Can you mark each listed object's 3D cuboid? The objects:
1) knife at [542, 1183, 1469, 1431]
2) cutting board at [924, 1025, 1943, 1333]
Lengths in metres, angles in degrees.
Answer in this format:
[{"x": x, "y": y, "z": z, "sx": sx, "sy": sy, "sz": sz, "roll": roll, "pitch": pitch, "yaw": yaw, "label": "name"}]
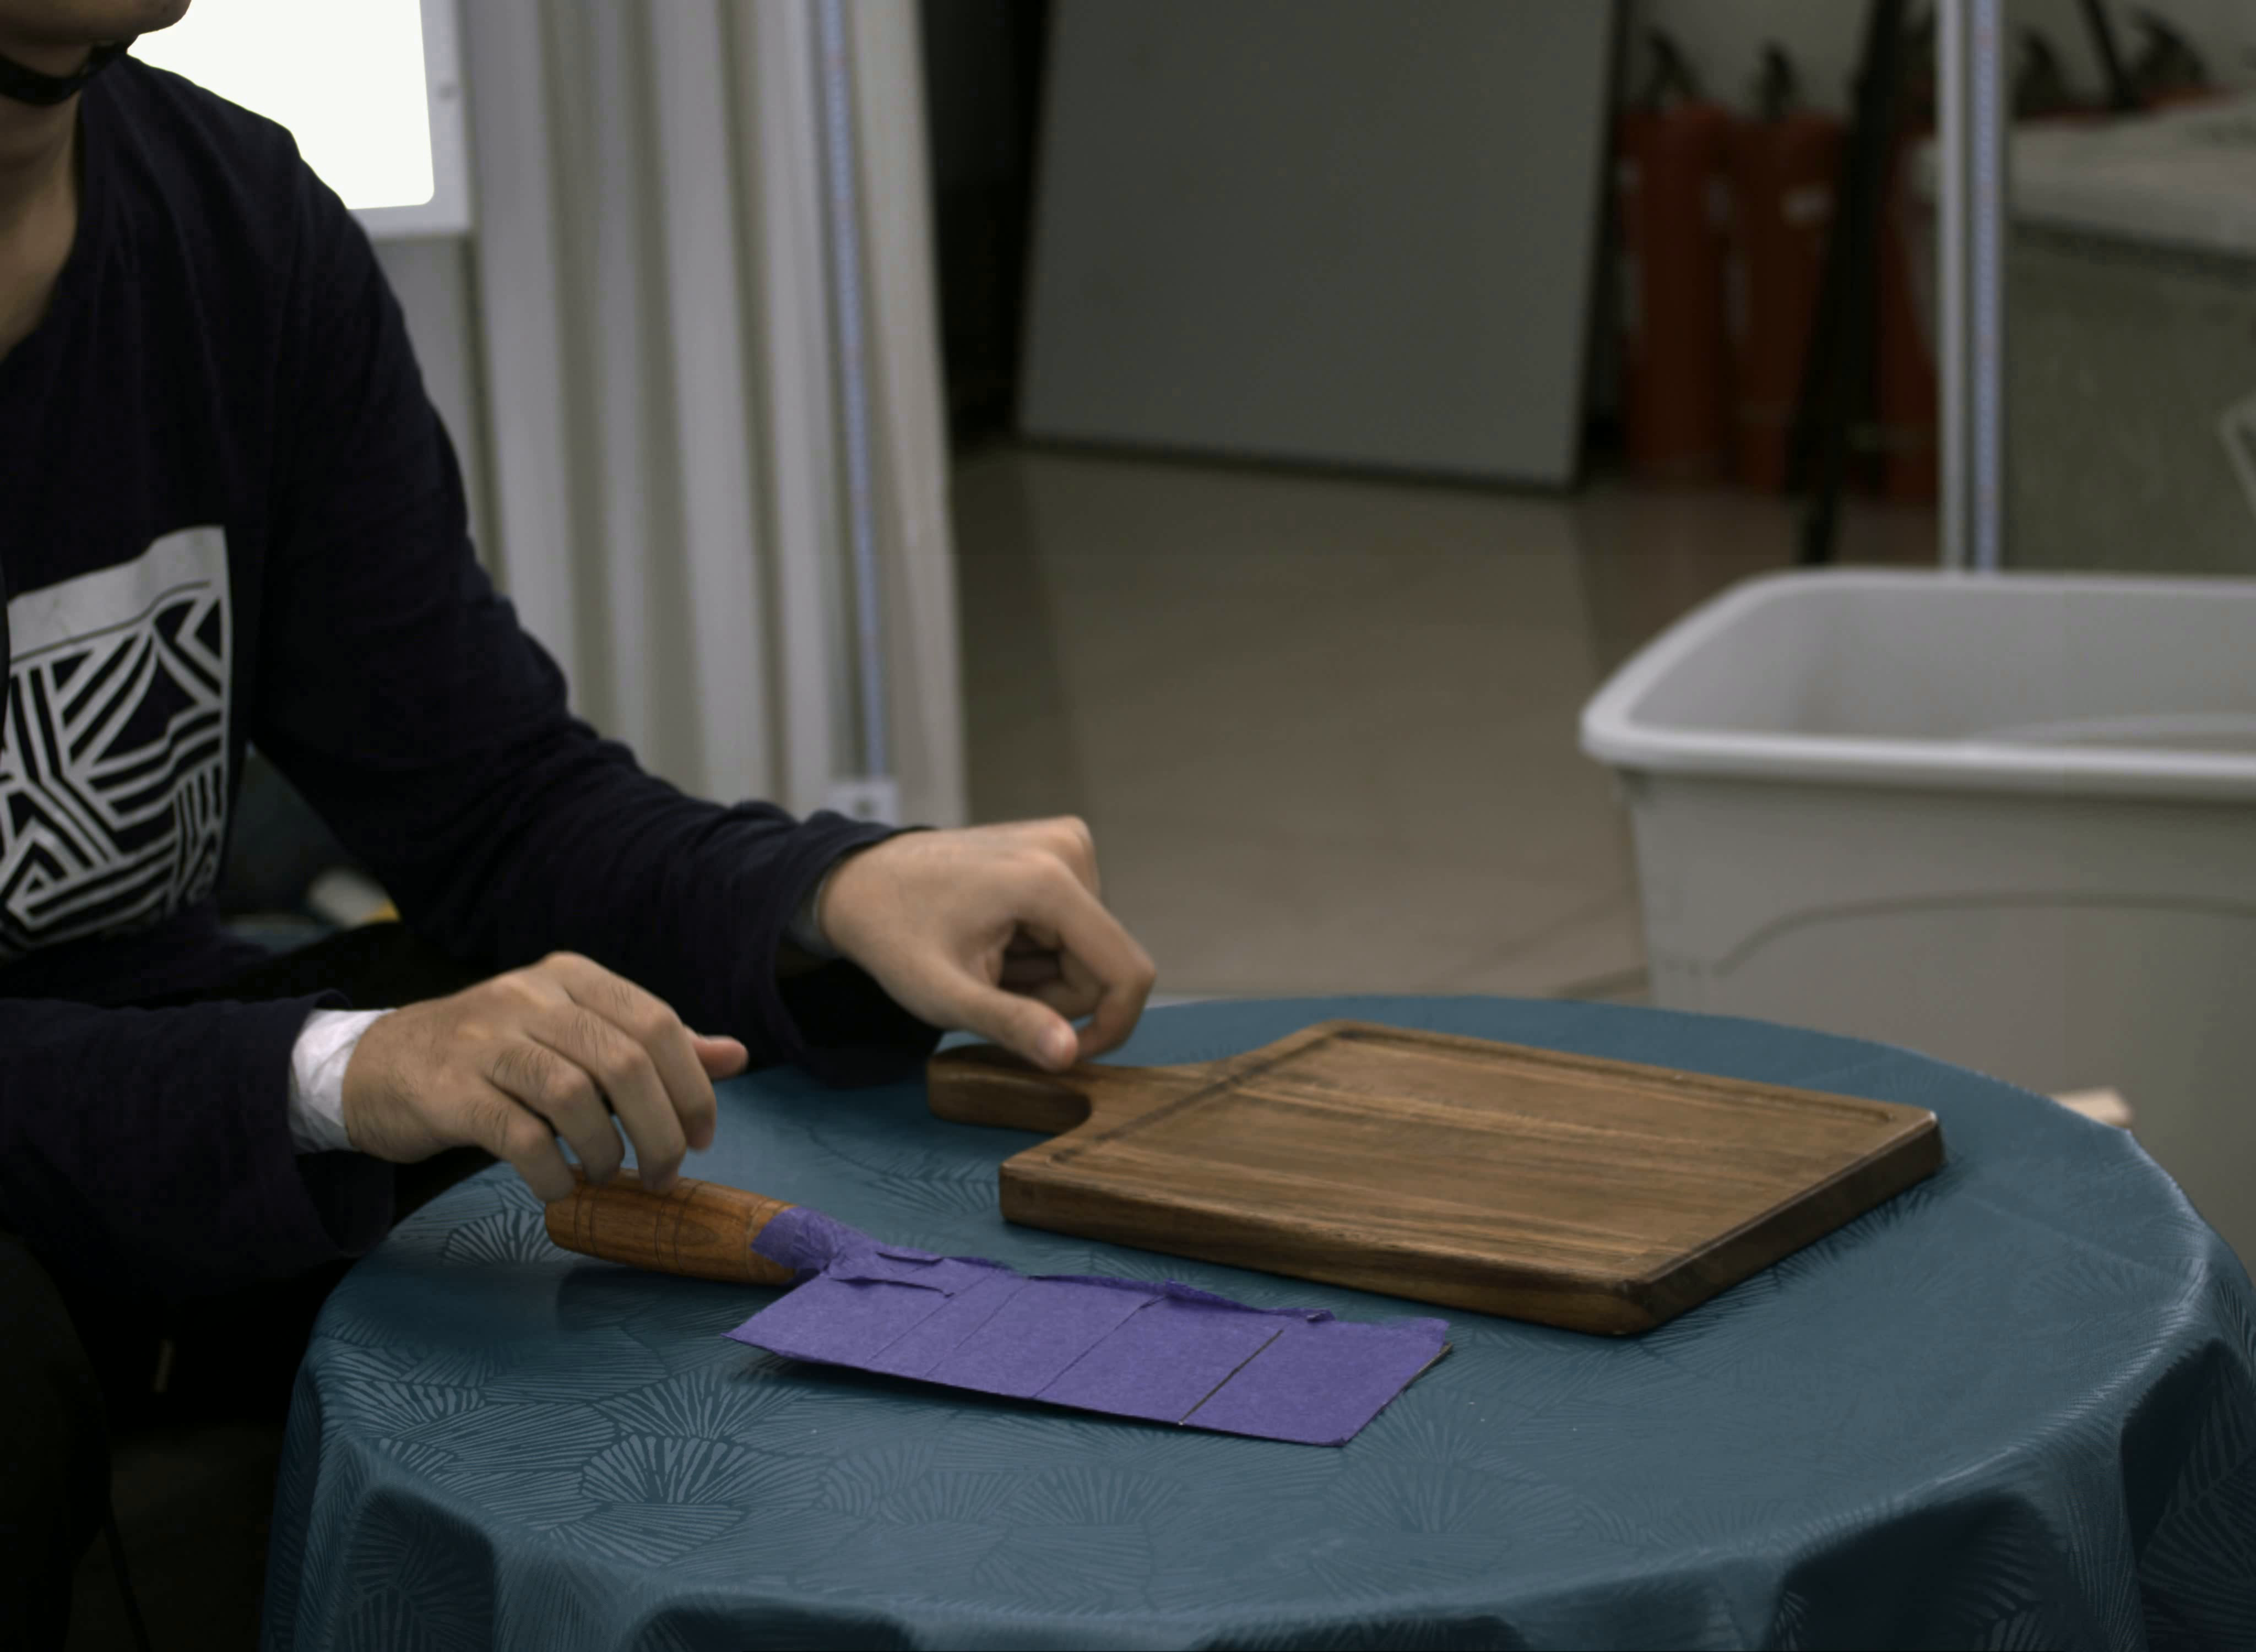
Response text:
[{"x": -0.056, "y": 0.145, "z": 1.636, "sx": 0.316, "sy": 0.032, "sz": 0.102, "roll": 4, "pitch": 15, "yaw": 28, "label": "knife"}, {"x": 0.073, "y": 0.106, "z": 1.774, "sx": 0.355, "sy": 0.023, "sz": 0.197, "roll": 6, "pitch": 17, "yaw": 39, "label": "cutting board"}]
